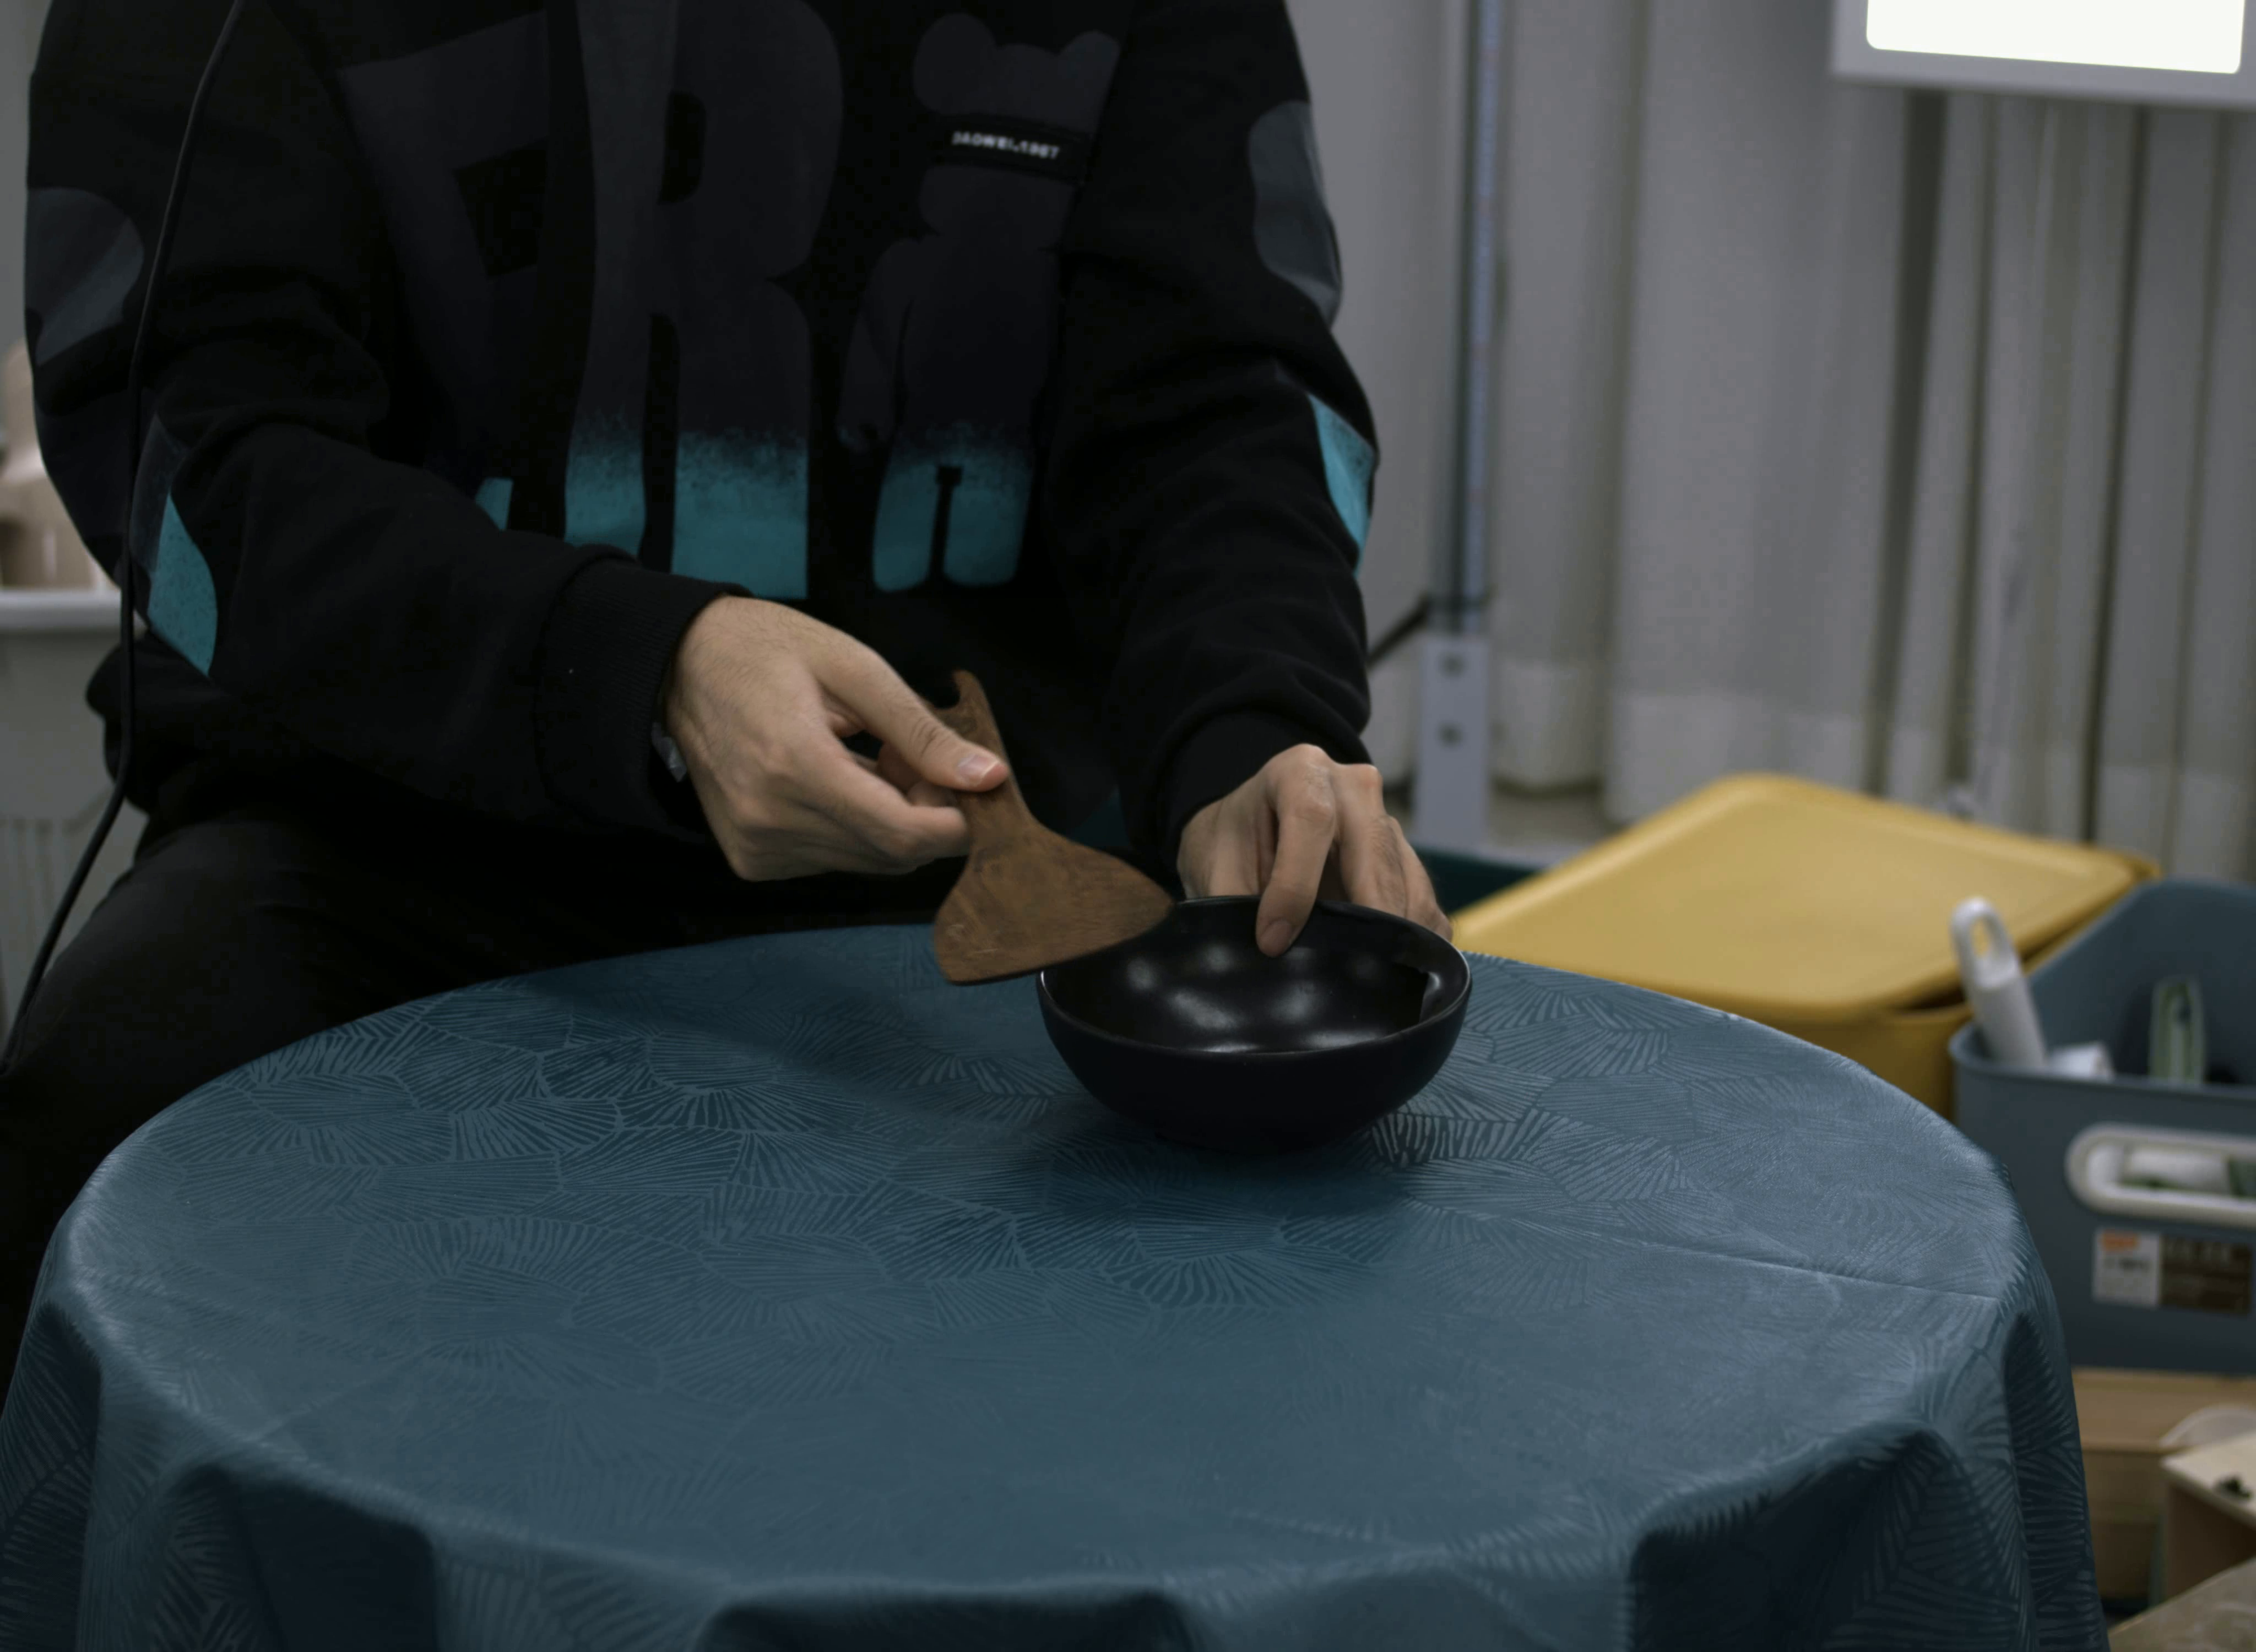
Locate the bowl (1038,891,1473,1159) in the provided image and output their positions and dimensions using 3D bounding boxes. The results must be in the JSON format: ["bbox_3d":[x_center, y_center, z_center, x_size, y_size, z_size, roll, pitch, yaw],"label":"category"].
[{"bbox_3d":[0.042,0.069,1.679,0.139,0.050,0.139,-2,22,1],"label":"bowl"}]

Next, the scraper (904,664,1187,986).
[{"bbox_3d":[-0.039,-0.003,1.698,0.076,0.011,0.209,-15,31,-8],"label":"scraper"}]
